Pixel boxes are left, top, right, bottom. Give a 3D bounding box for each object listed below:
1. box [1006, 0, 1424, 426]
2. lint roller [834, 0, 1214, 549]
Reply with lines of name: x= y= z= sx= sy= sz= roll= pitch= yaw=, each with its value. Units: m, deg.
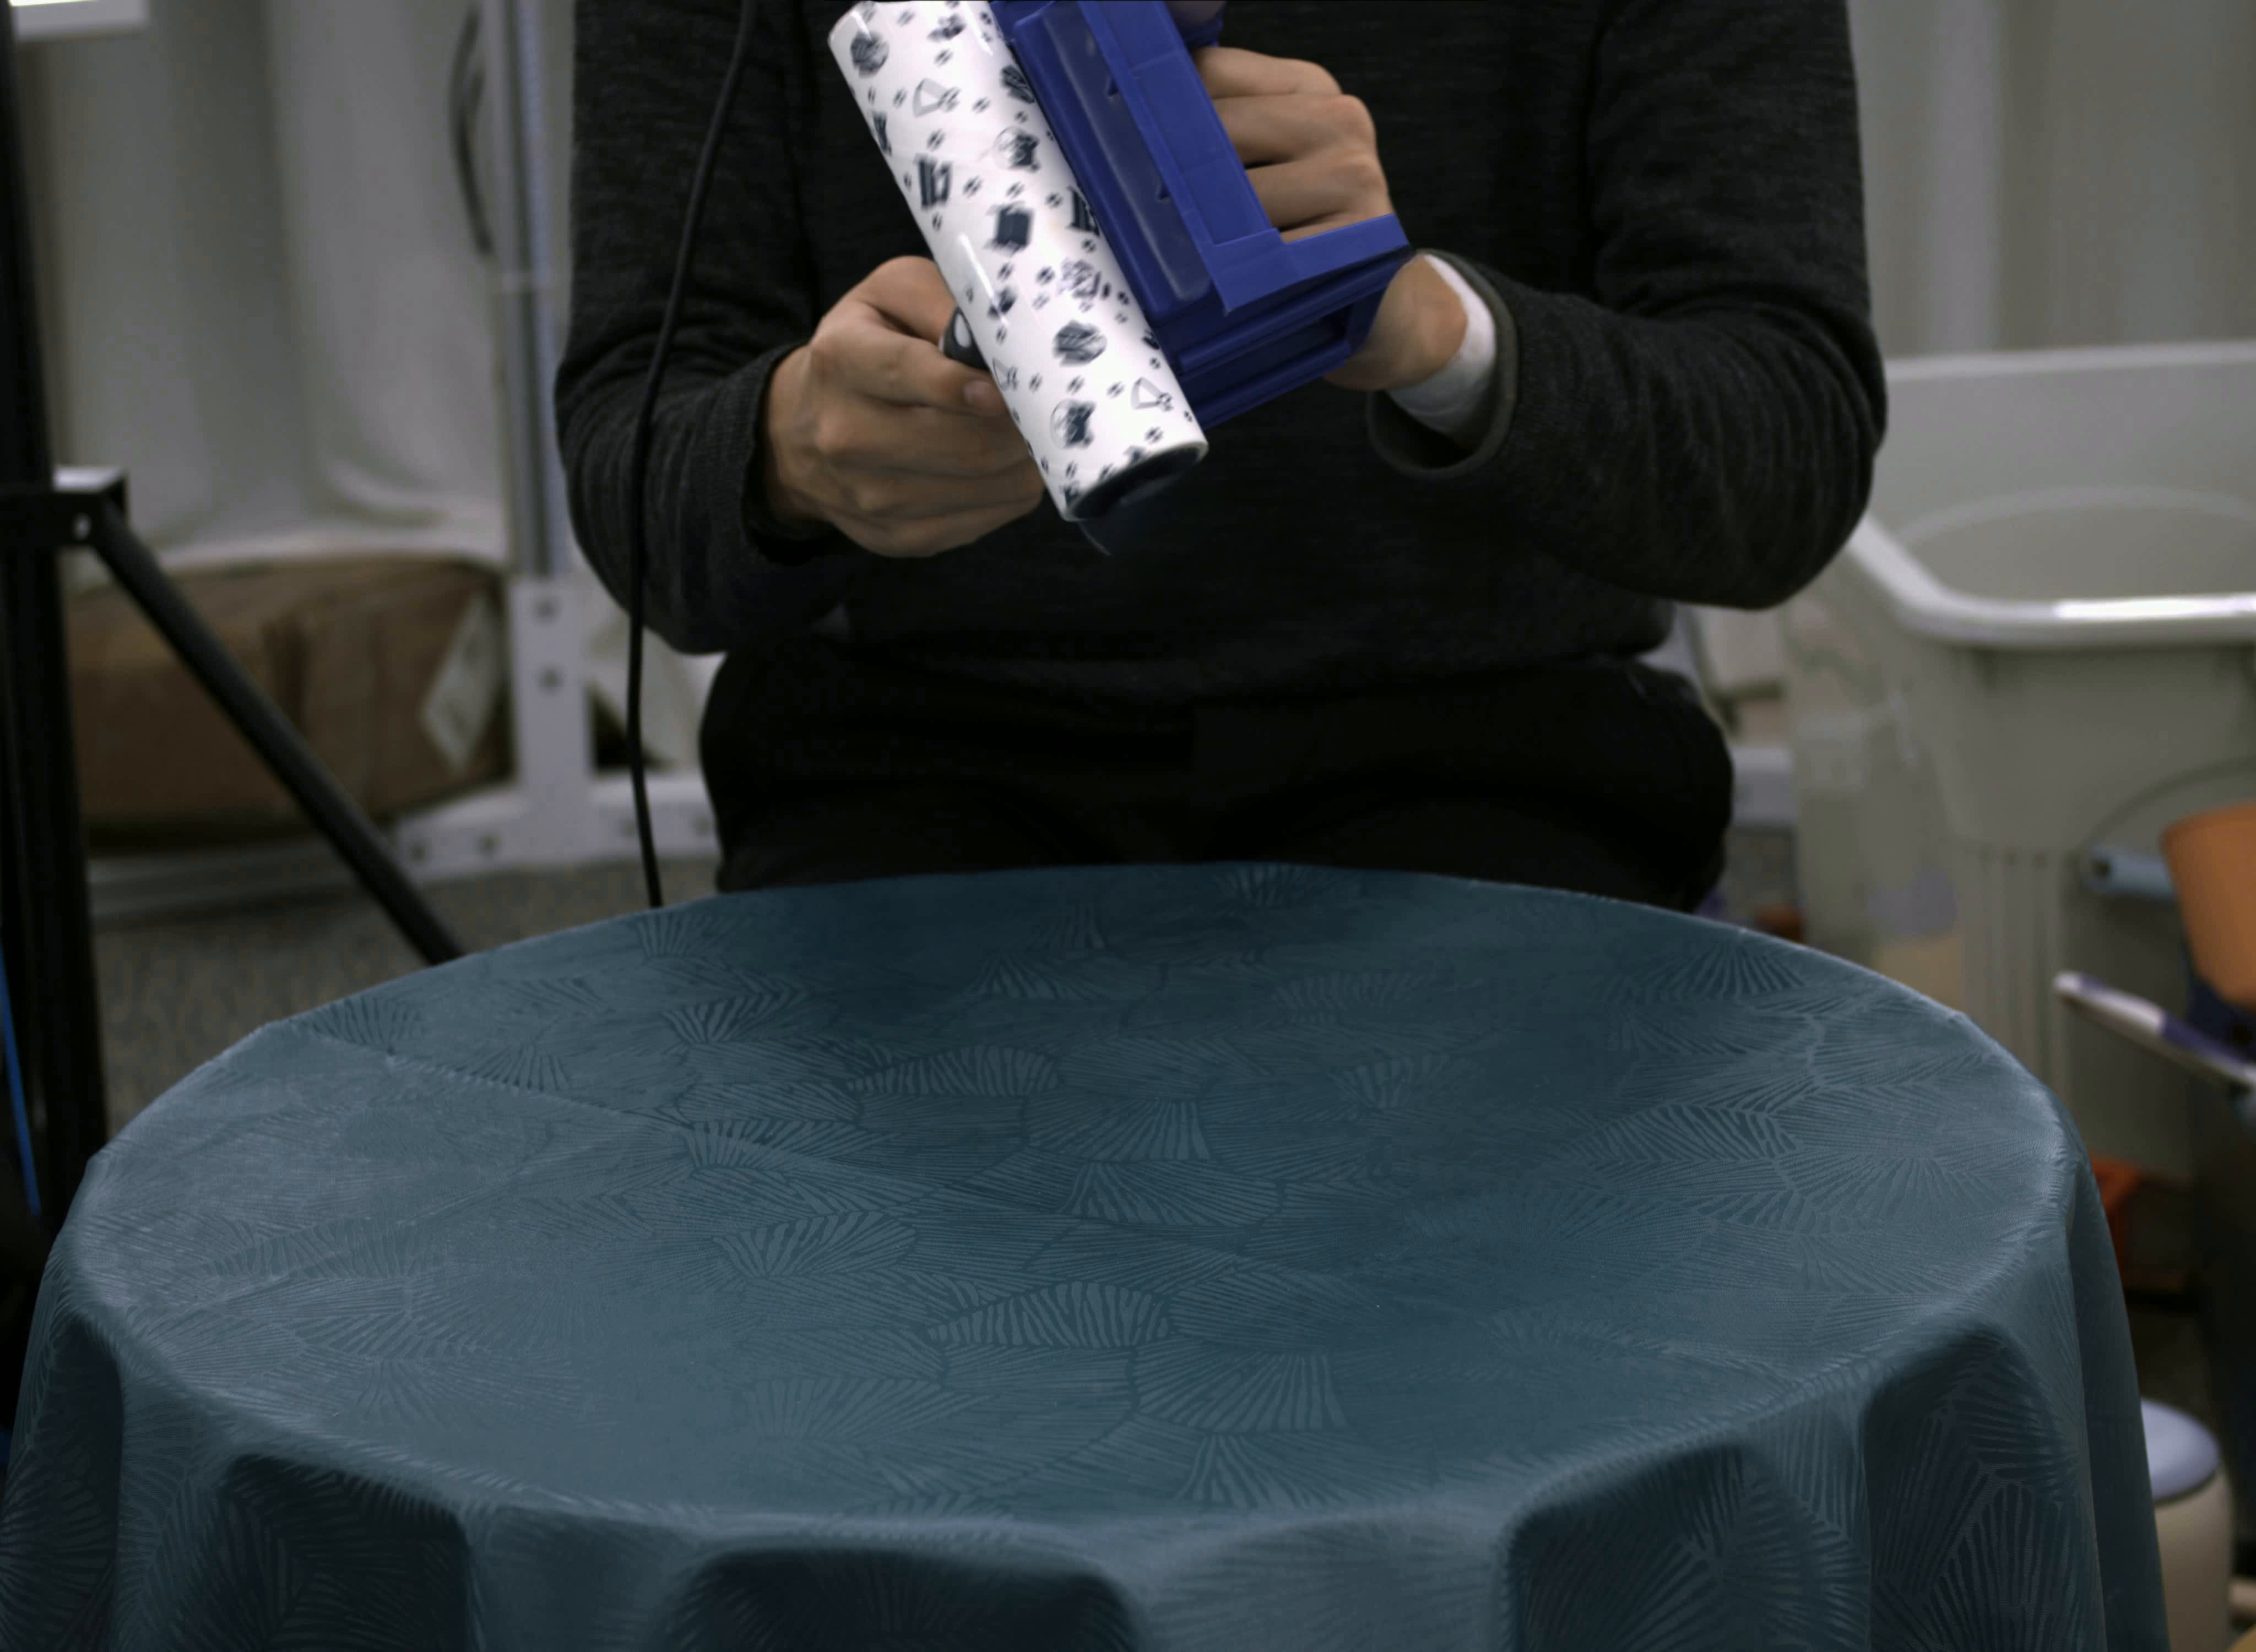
box: x=0.022 y=-0.199 z=1.594 sx=0.081 sy=0.125 sz=0.179 roll=-24 pitch=-7 yaw=-8
lint roller: x=-0.045 y=-0.141 z=1.647 sx=0.050 sy=0.178 sz=0.247 roll=-23 pitch=-12 yaw=-15
